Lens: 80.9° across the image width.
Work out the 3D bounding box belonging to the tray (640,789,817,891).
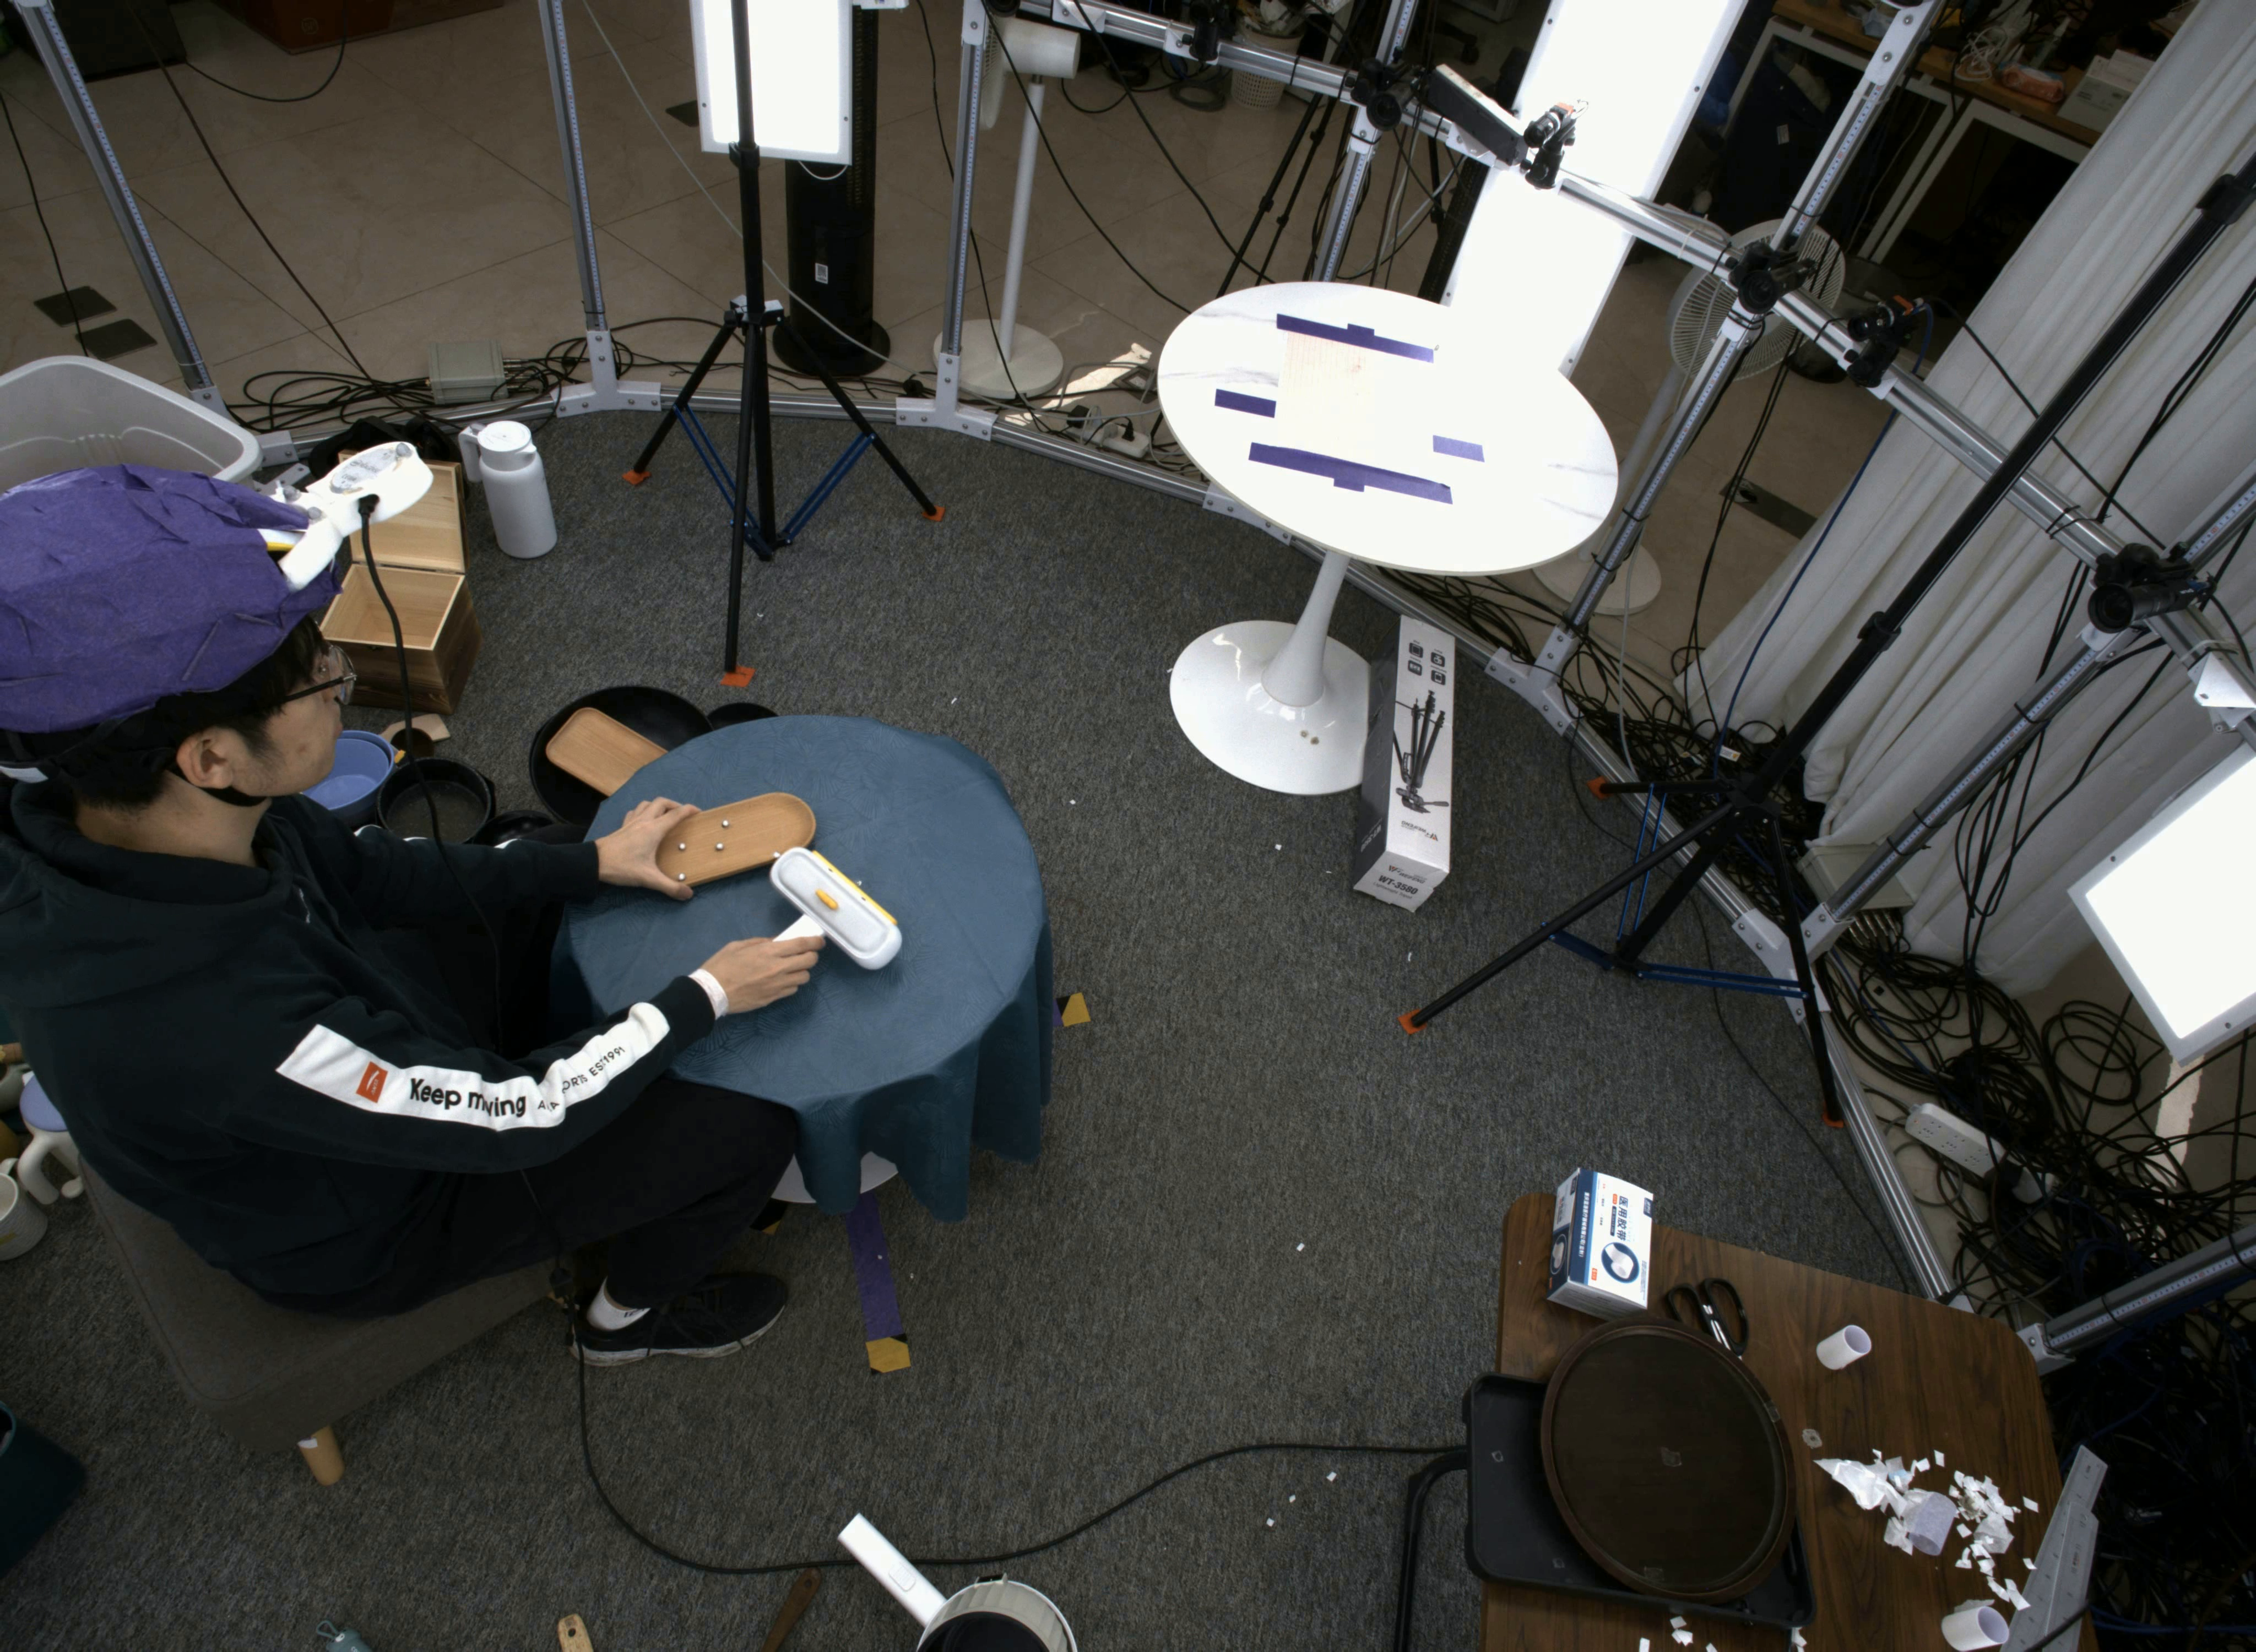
[{"bbox_3d":[-0.515,0.016,1.669,0.232,0.020,0.099,-19,66,-26],"label":"tray"}]

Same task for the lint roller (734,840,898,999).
[{"bbox_3d":[-0.403,0.131,1.578,0.191,0.075,0.192,37,69,4],"label":"lint roller"}]
